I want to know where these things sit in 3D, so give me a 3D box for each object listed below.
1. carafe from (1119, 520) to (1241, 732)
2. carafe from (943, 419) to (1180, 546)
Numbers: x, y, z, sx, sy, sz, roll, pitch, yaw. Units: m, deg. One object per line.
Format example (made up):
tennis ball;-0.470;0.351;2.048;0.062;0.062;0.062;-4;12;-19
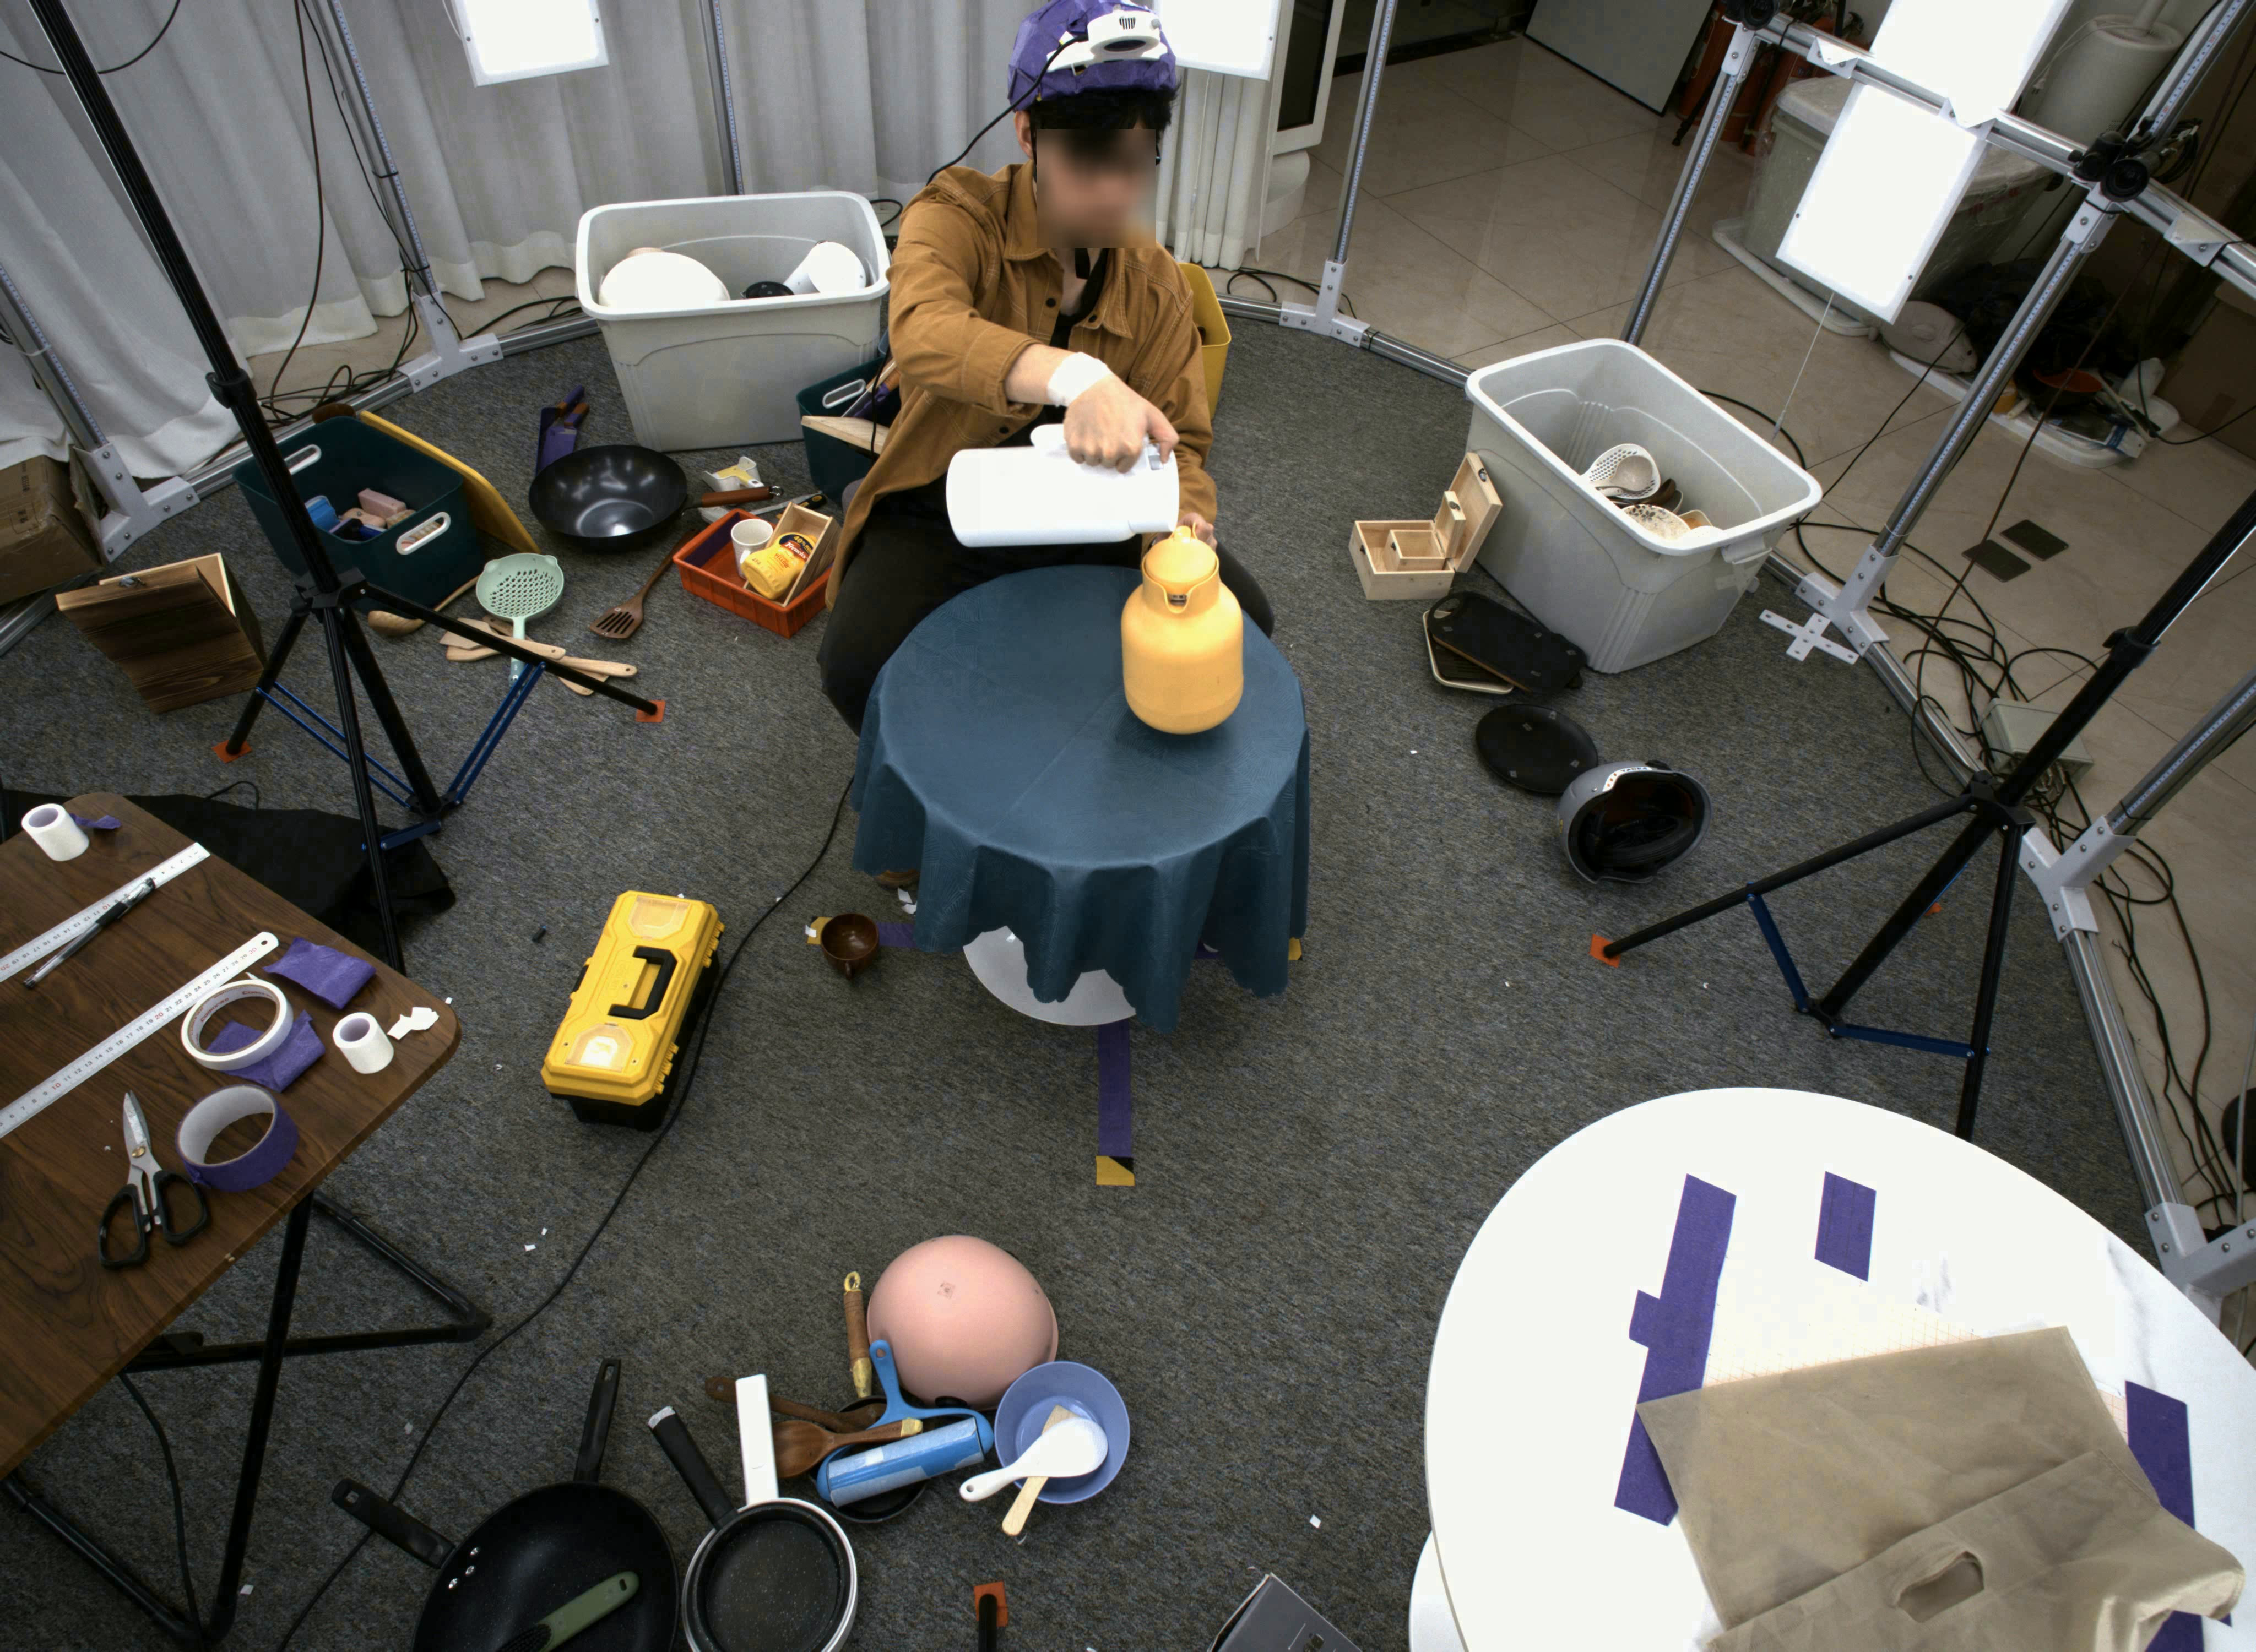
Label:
carafe;0.072;-0.271;1.700;0.163;0.254;0.207;6;51;6
carafe;-0.081;-0.403;1.522;0.269;0.169;0.126;3;64;14
